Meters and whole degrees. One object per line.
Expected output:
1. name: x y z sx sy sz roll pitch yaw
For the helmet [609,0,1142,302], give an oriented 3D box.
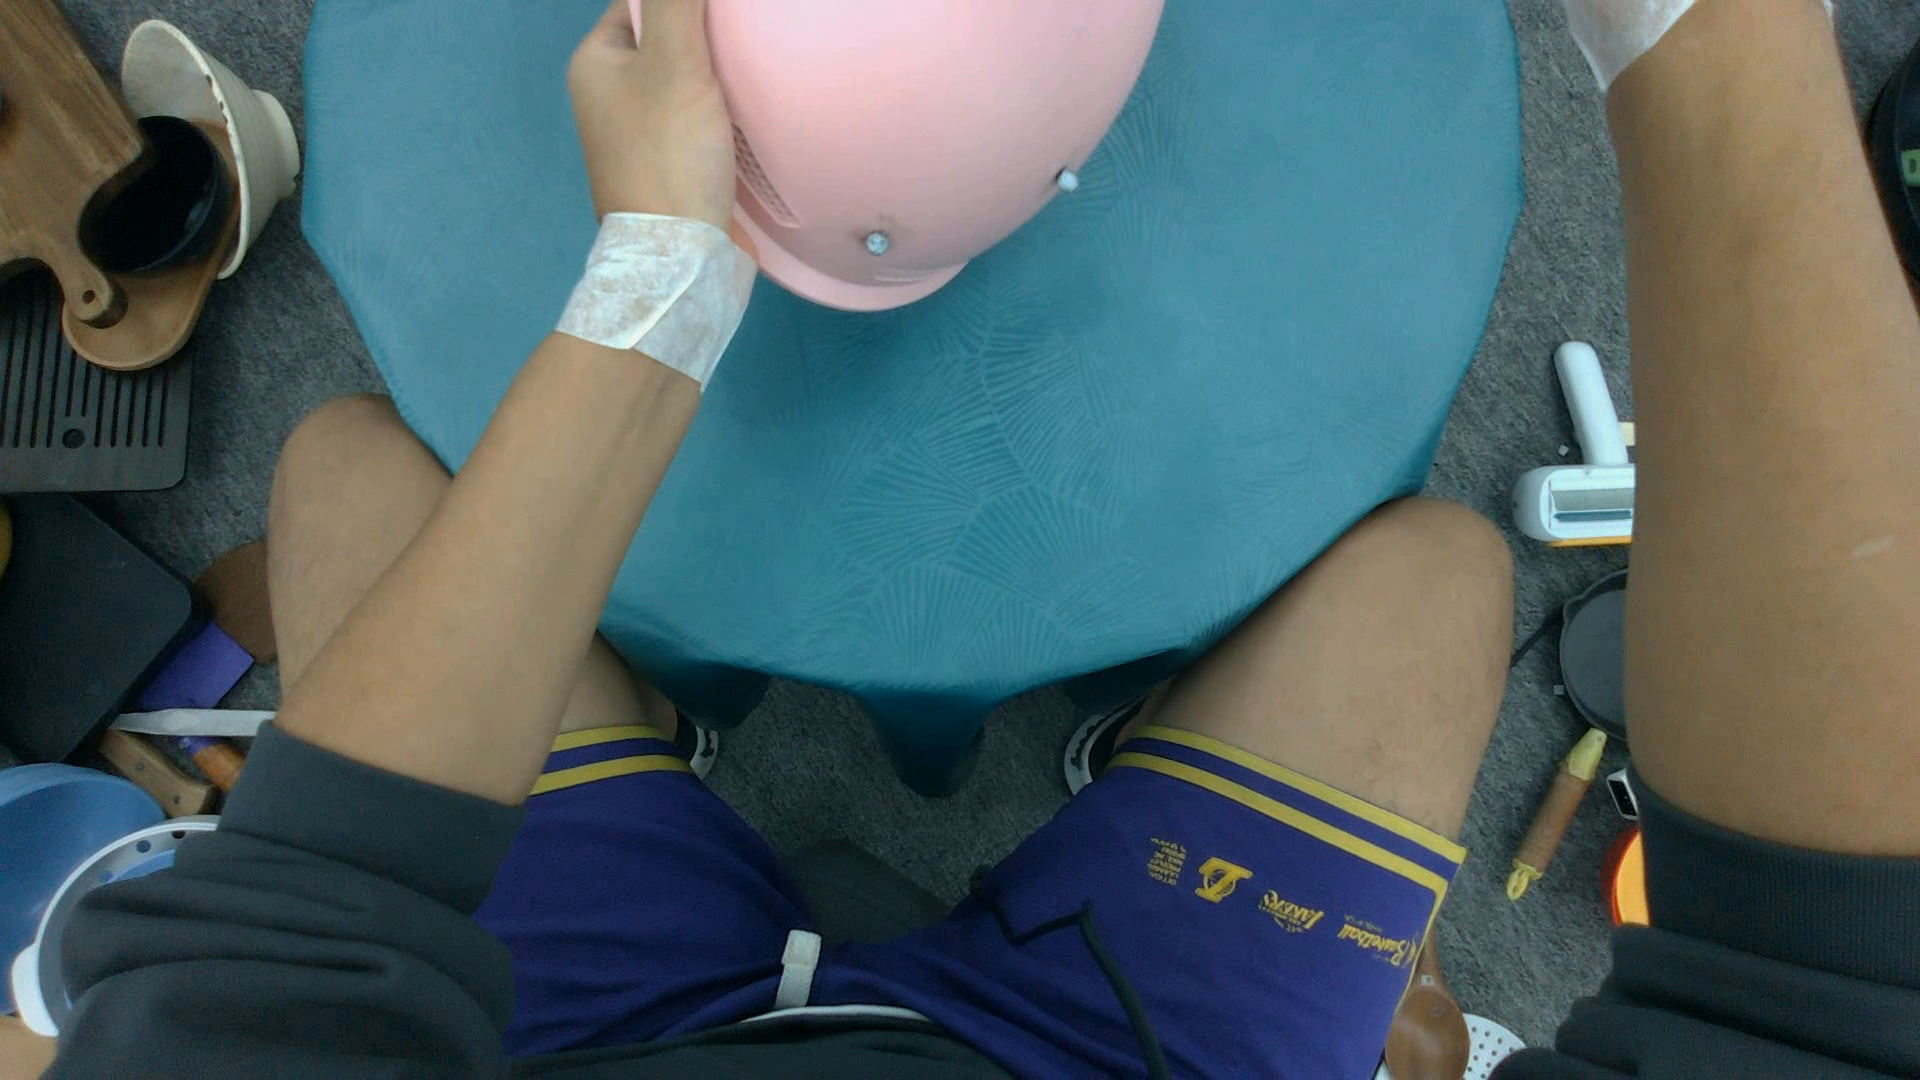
1. helmet: -0.015 -0.236 0.535 0.234 0.158 0.266 21 68 -47
